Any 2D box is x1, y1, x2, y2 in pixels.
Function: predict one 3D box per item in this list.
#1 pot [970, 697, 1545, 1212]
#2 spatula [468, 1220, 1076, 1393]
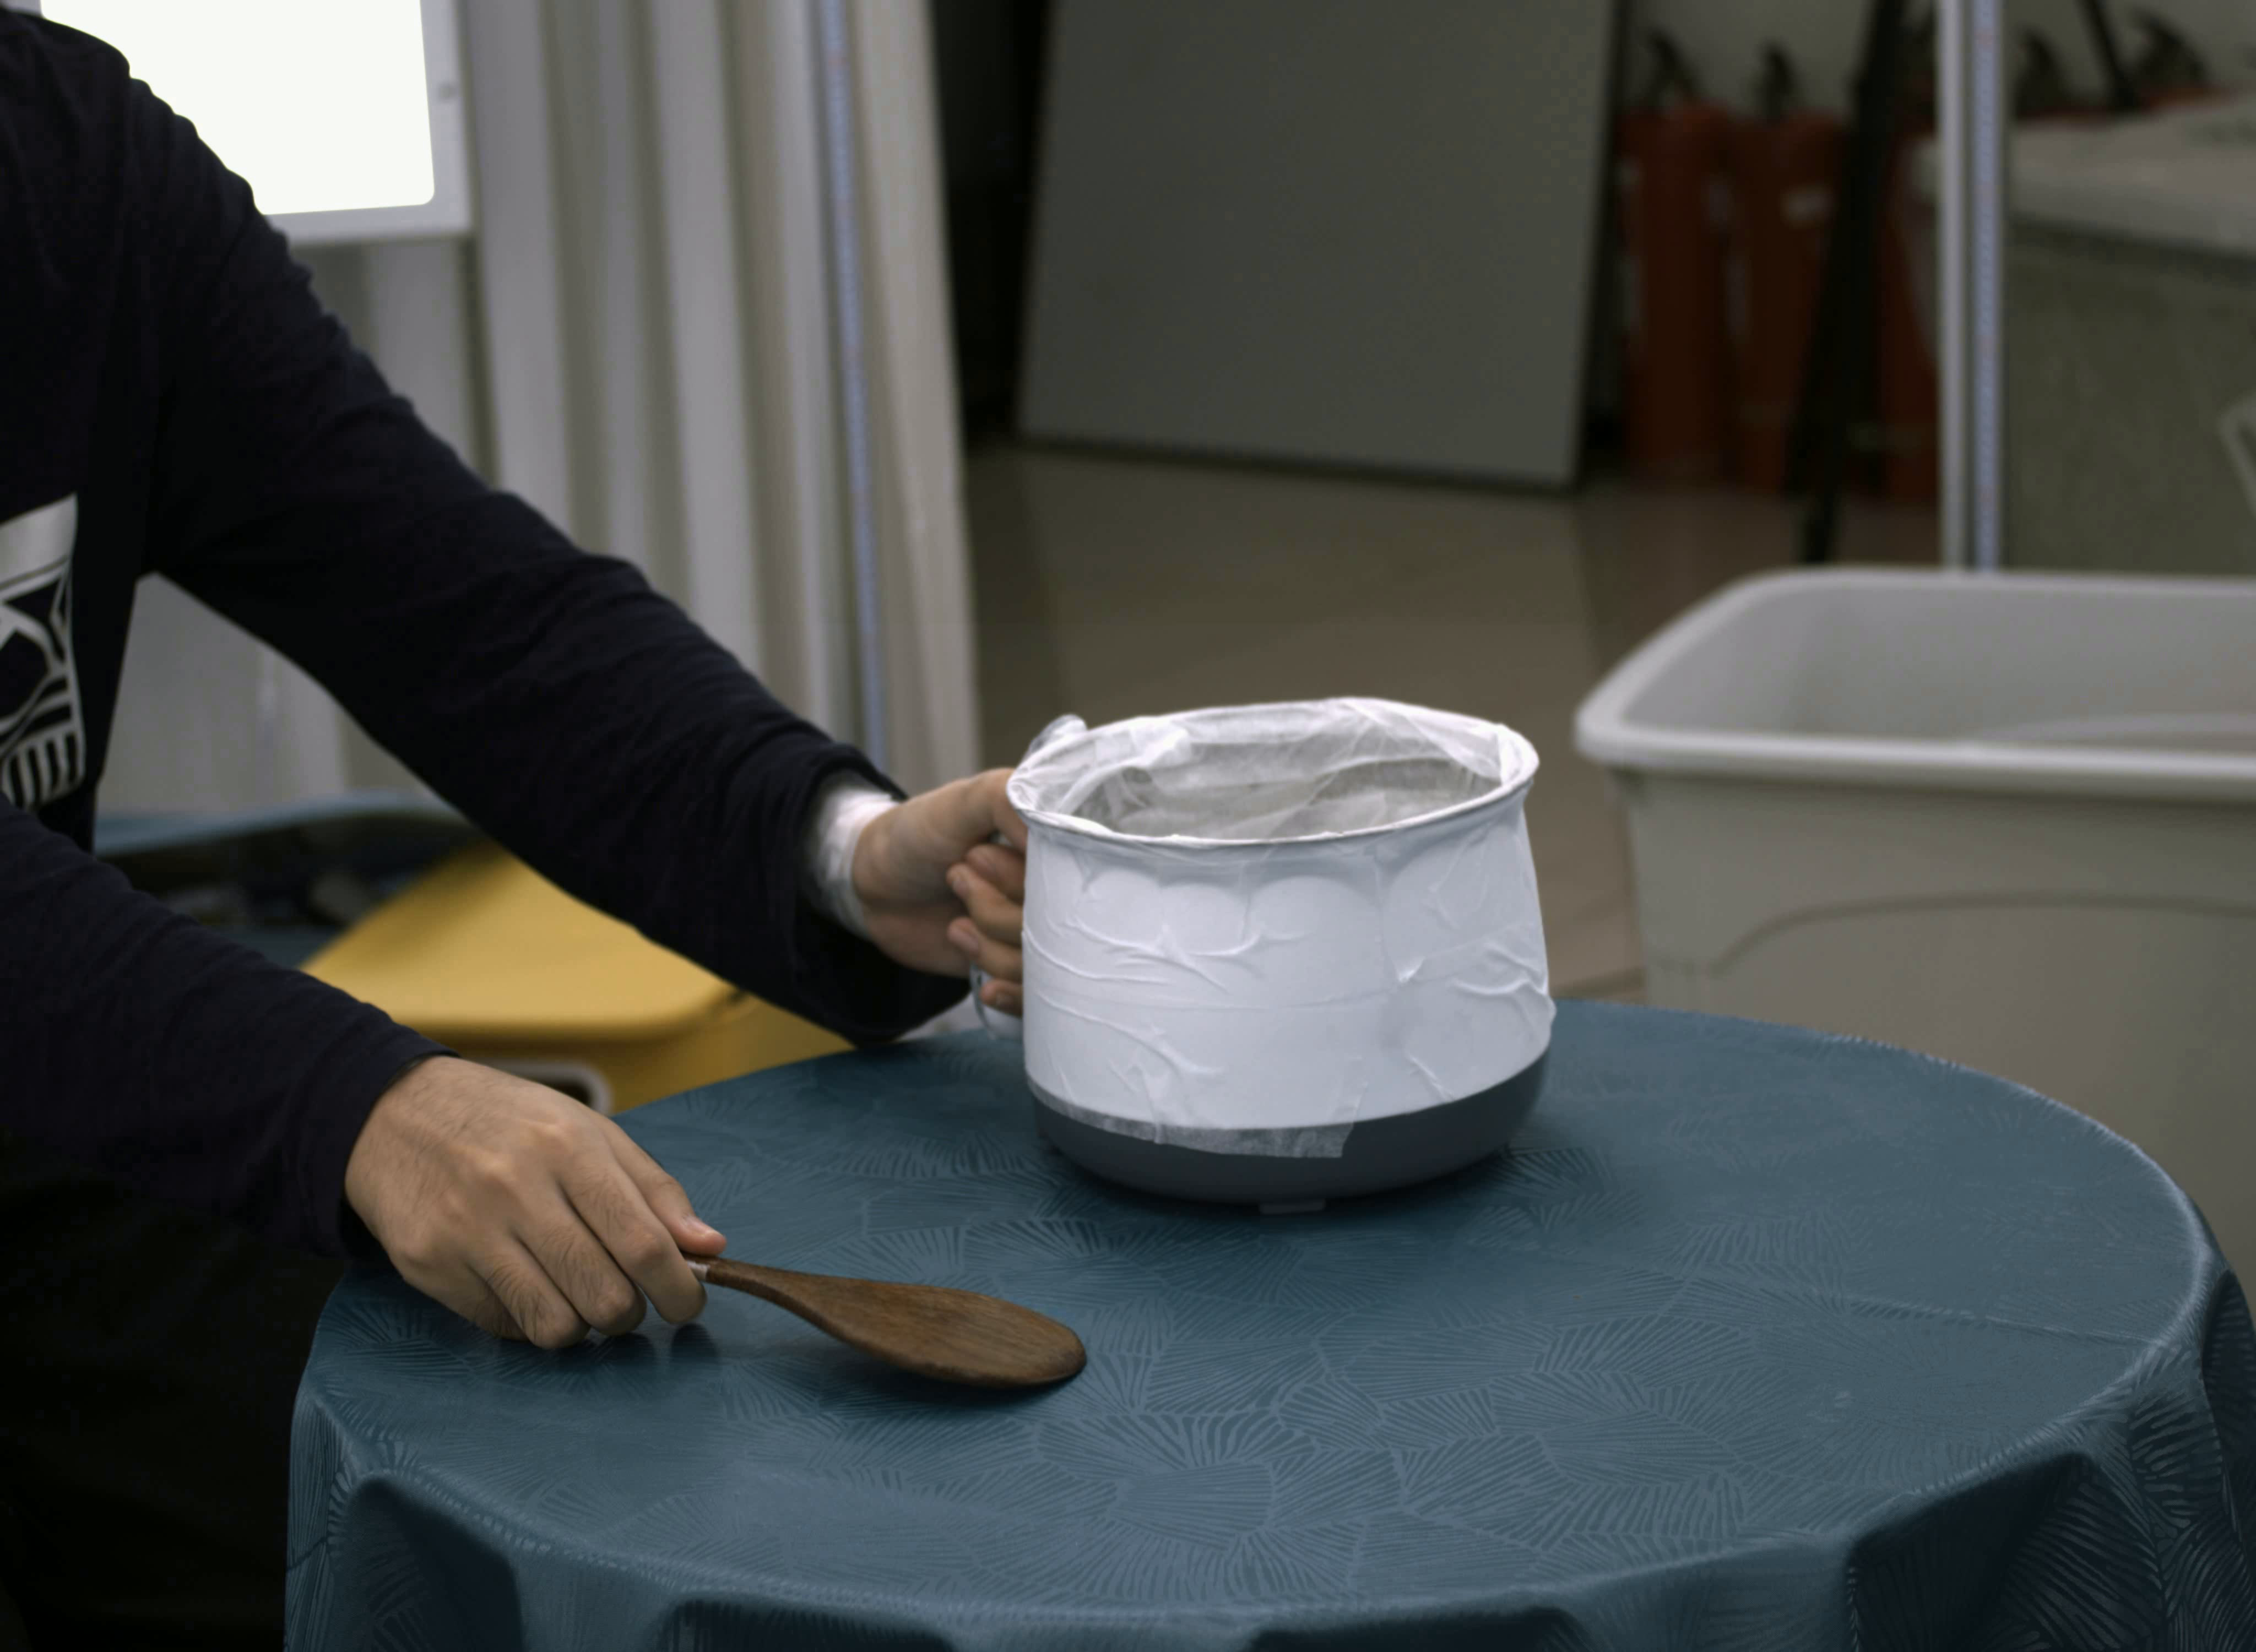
[{"bbox_3d":[0.032,0.036,1.806,0.175,0.138,0.236,-14,19,-42],"label":"pot"},{"bbox_3d":[-0.110,0.143,1.647,0.216,0.009,0.071,11,9,29],"label":"spatula"}]
